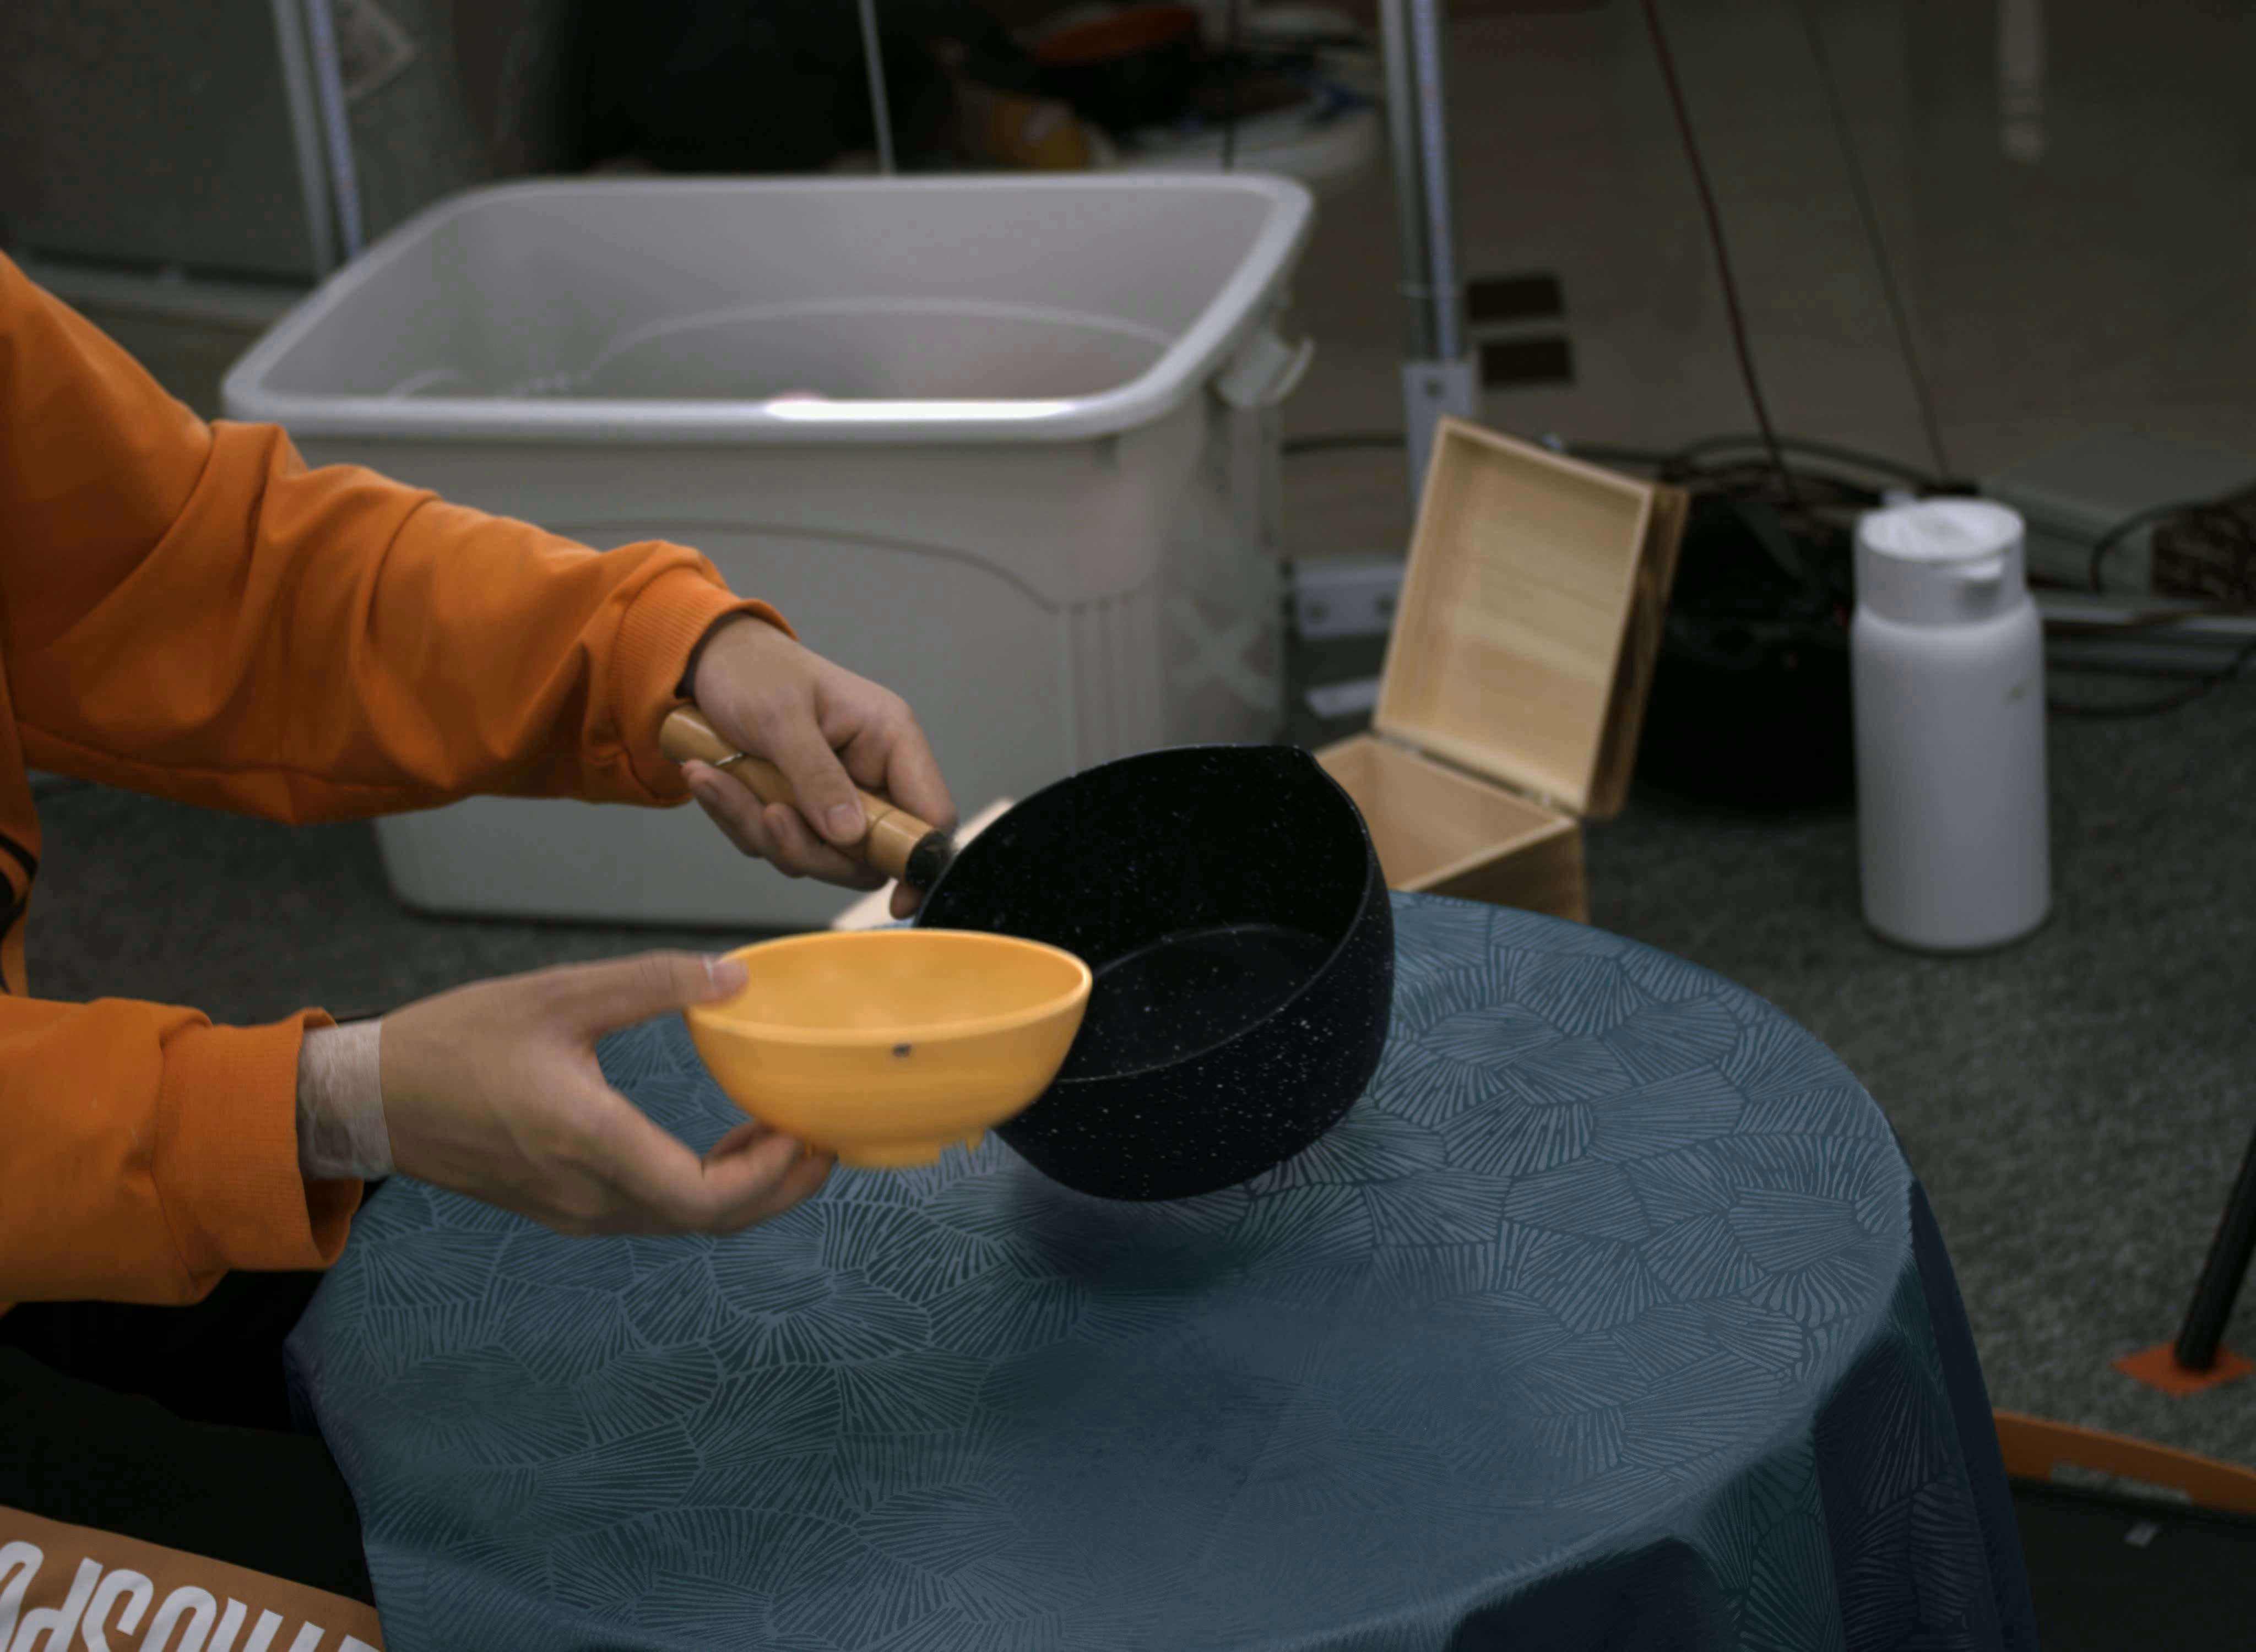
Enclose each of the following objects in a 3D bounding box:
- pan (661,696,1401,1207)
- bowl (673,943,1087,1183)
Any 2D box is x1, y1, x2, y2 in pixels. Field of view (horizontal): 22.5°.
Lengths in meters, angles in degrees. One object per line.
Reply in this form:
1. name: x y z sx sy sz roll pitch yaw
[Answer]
1. pan: -0.046 0.035 2.194 0.340 0.110 0.205 19 55 37
2. bowl: -0.086 0.087 1.978 0.145 0.061 0.144 -1 15 0
